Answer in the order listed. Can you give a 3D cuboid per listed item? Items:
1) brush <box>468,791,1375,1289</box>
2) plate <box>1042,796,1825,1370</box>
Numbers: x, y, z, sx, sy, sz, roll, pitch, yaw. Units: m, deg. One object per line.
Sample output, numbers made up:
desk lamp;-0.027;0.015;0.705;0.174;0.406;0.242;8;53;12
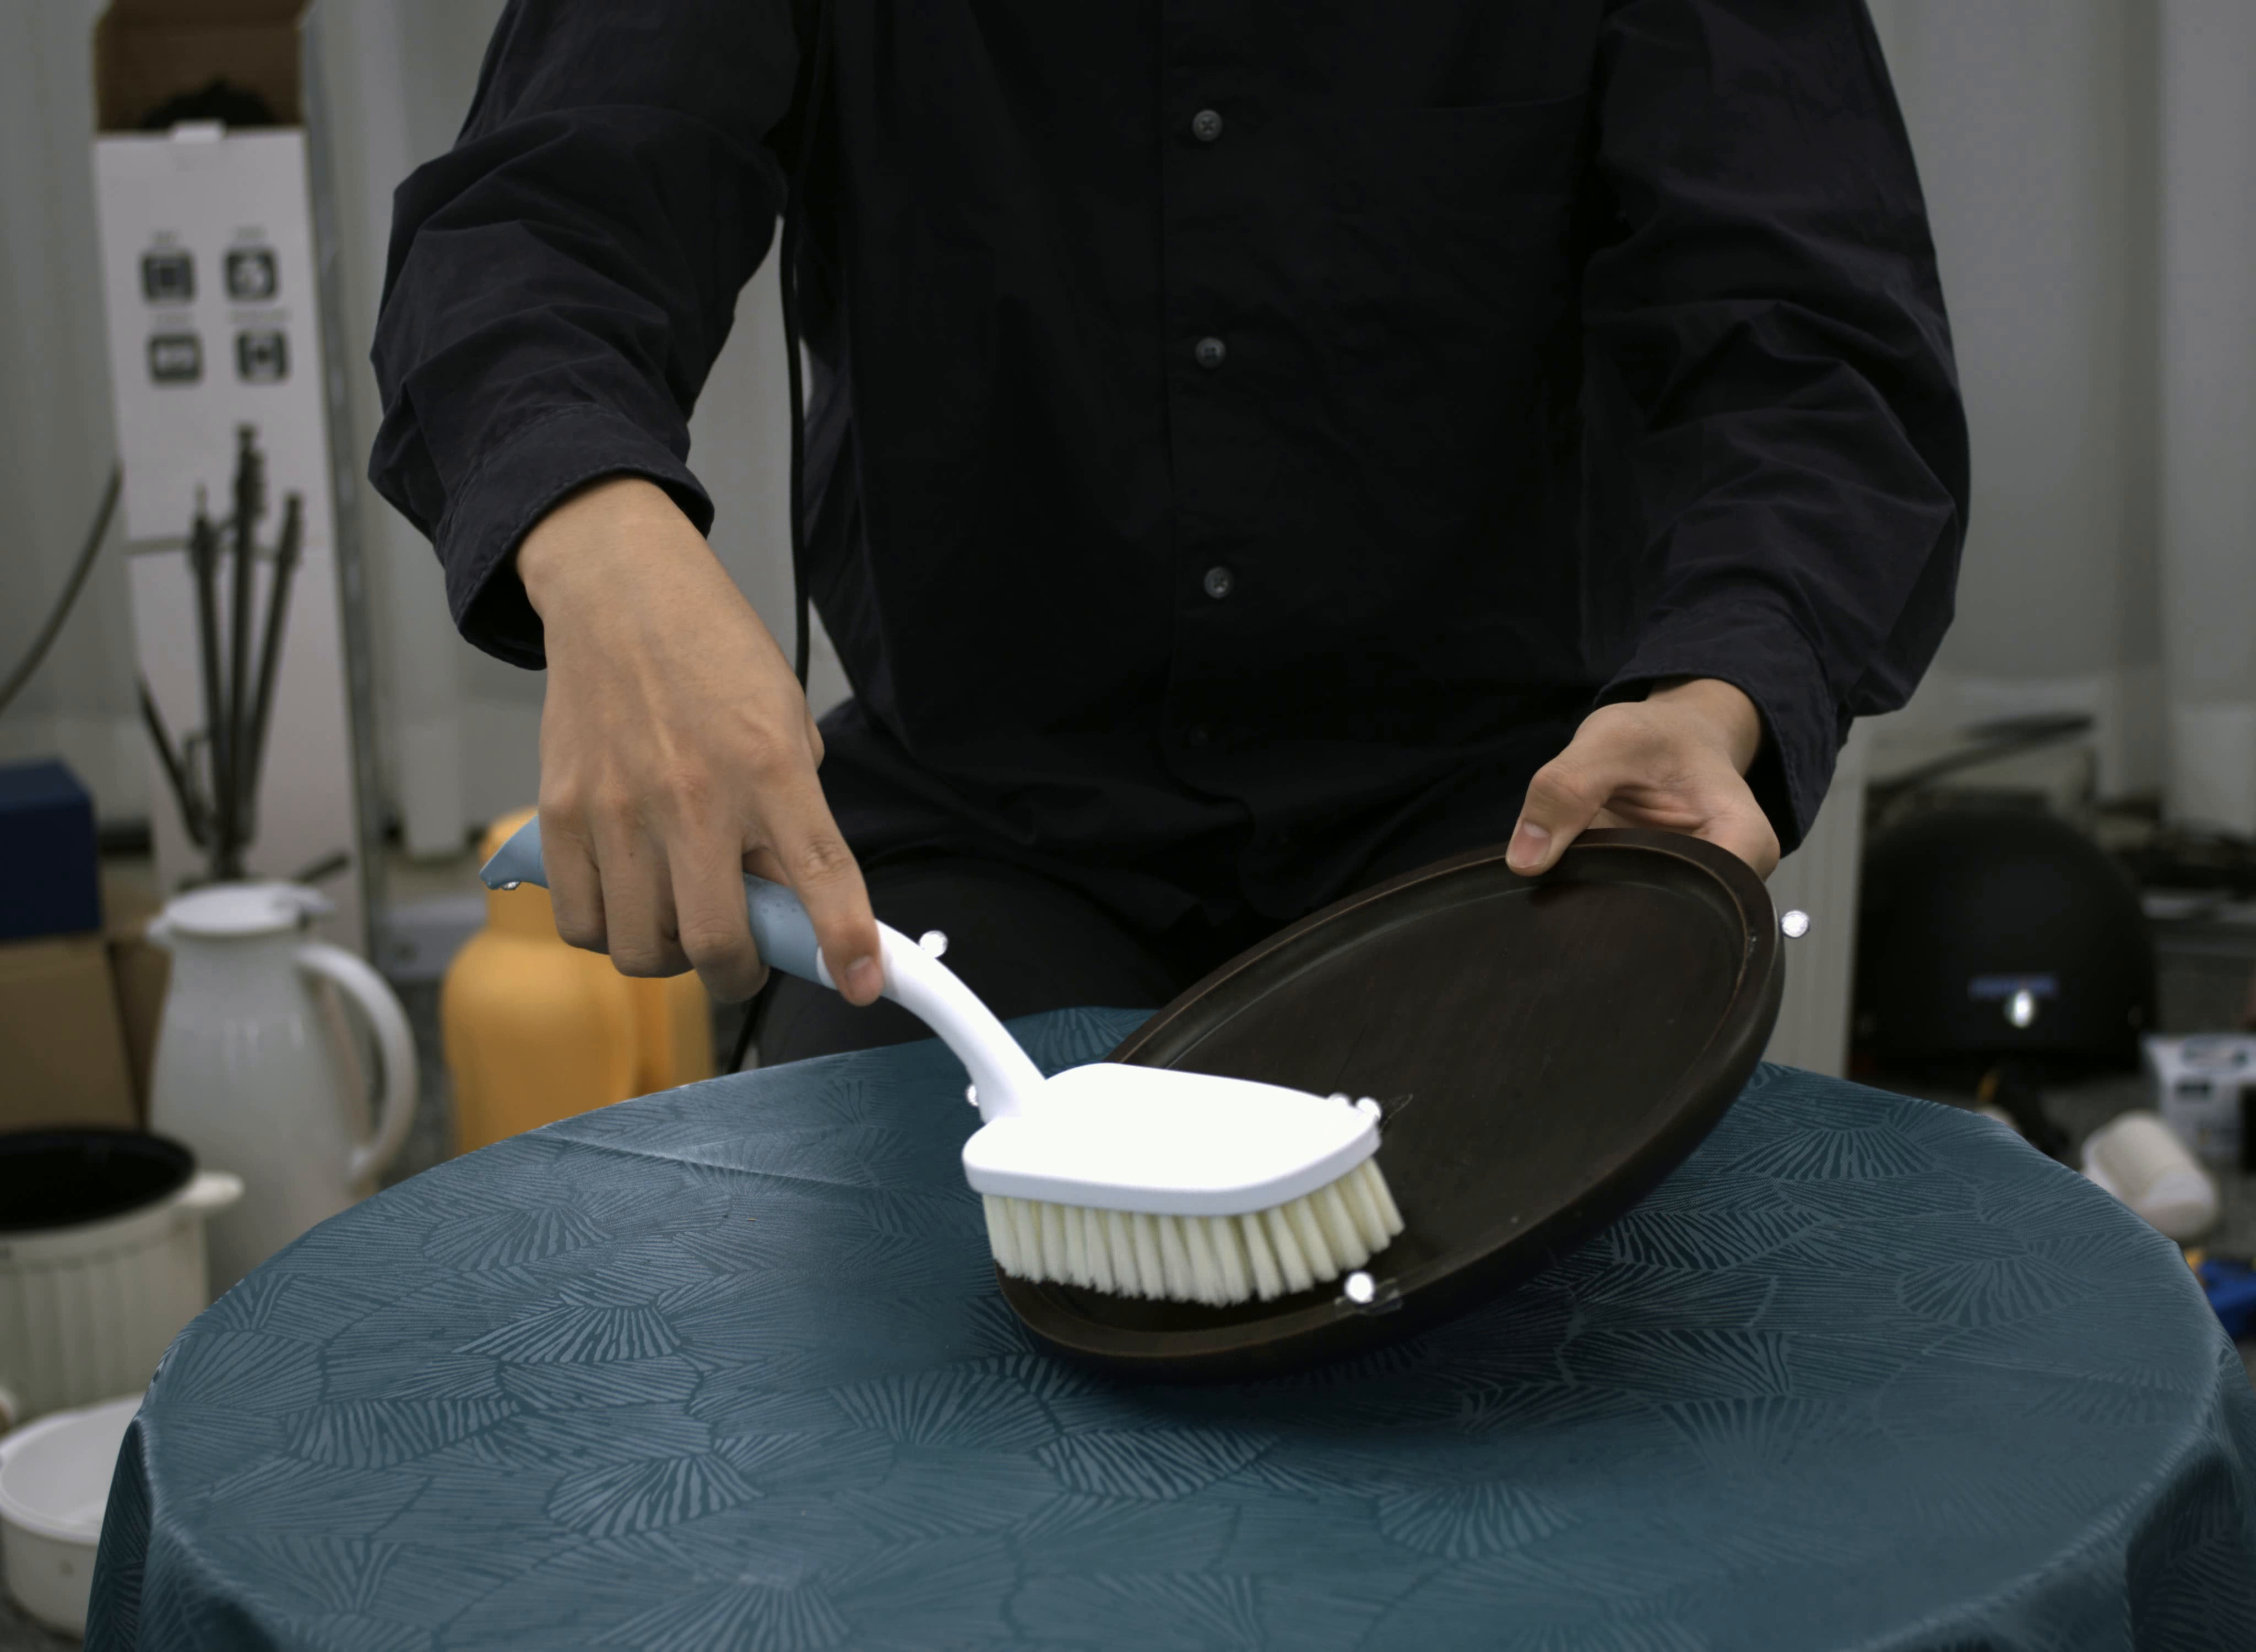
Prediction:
brush;-0.065;0.073;1.615;0.327;0.085;0.082;18;-4;32
plate;0.089;0.075;1.599;0.254;0.029;0.257;-26;22;11
